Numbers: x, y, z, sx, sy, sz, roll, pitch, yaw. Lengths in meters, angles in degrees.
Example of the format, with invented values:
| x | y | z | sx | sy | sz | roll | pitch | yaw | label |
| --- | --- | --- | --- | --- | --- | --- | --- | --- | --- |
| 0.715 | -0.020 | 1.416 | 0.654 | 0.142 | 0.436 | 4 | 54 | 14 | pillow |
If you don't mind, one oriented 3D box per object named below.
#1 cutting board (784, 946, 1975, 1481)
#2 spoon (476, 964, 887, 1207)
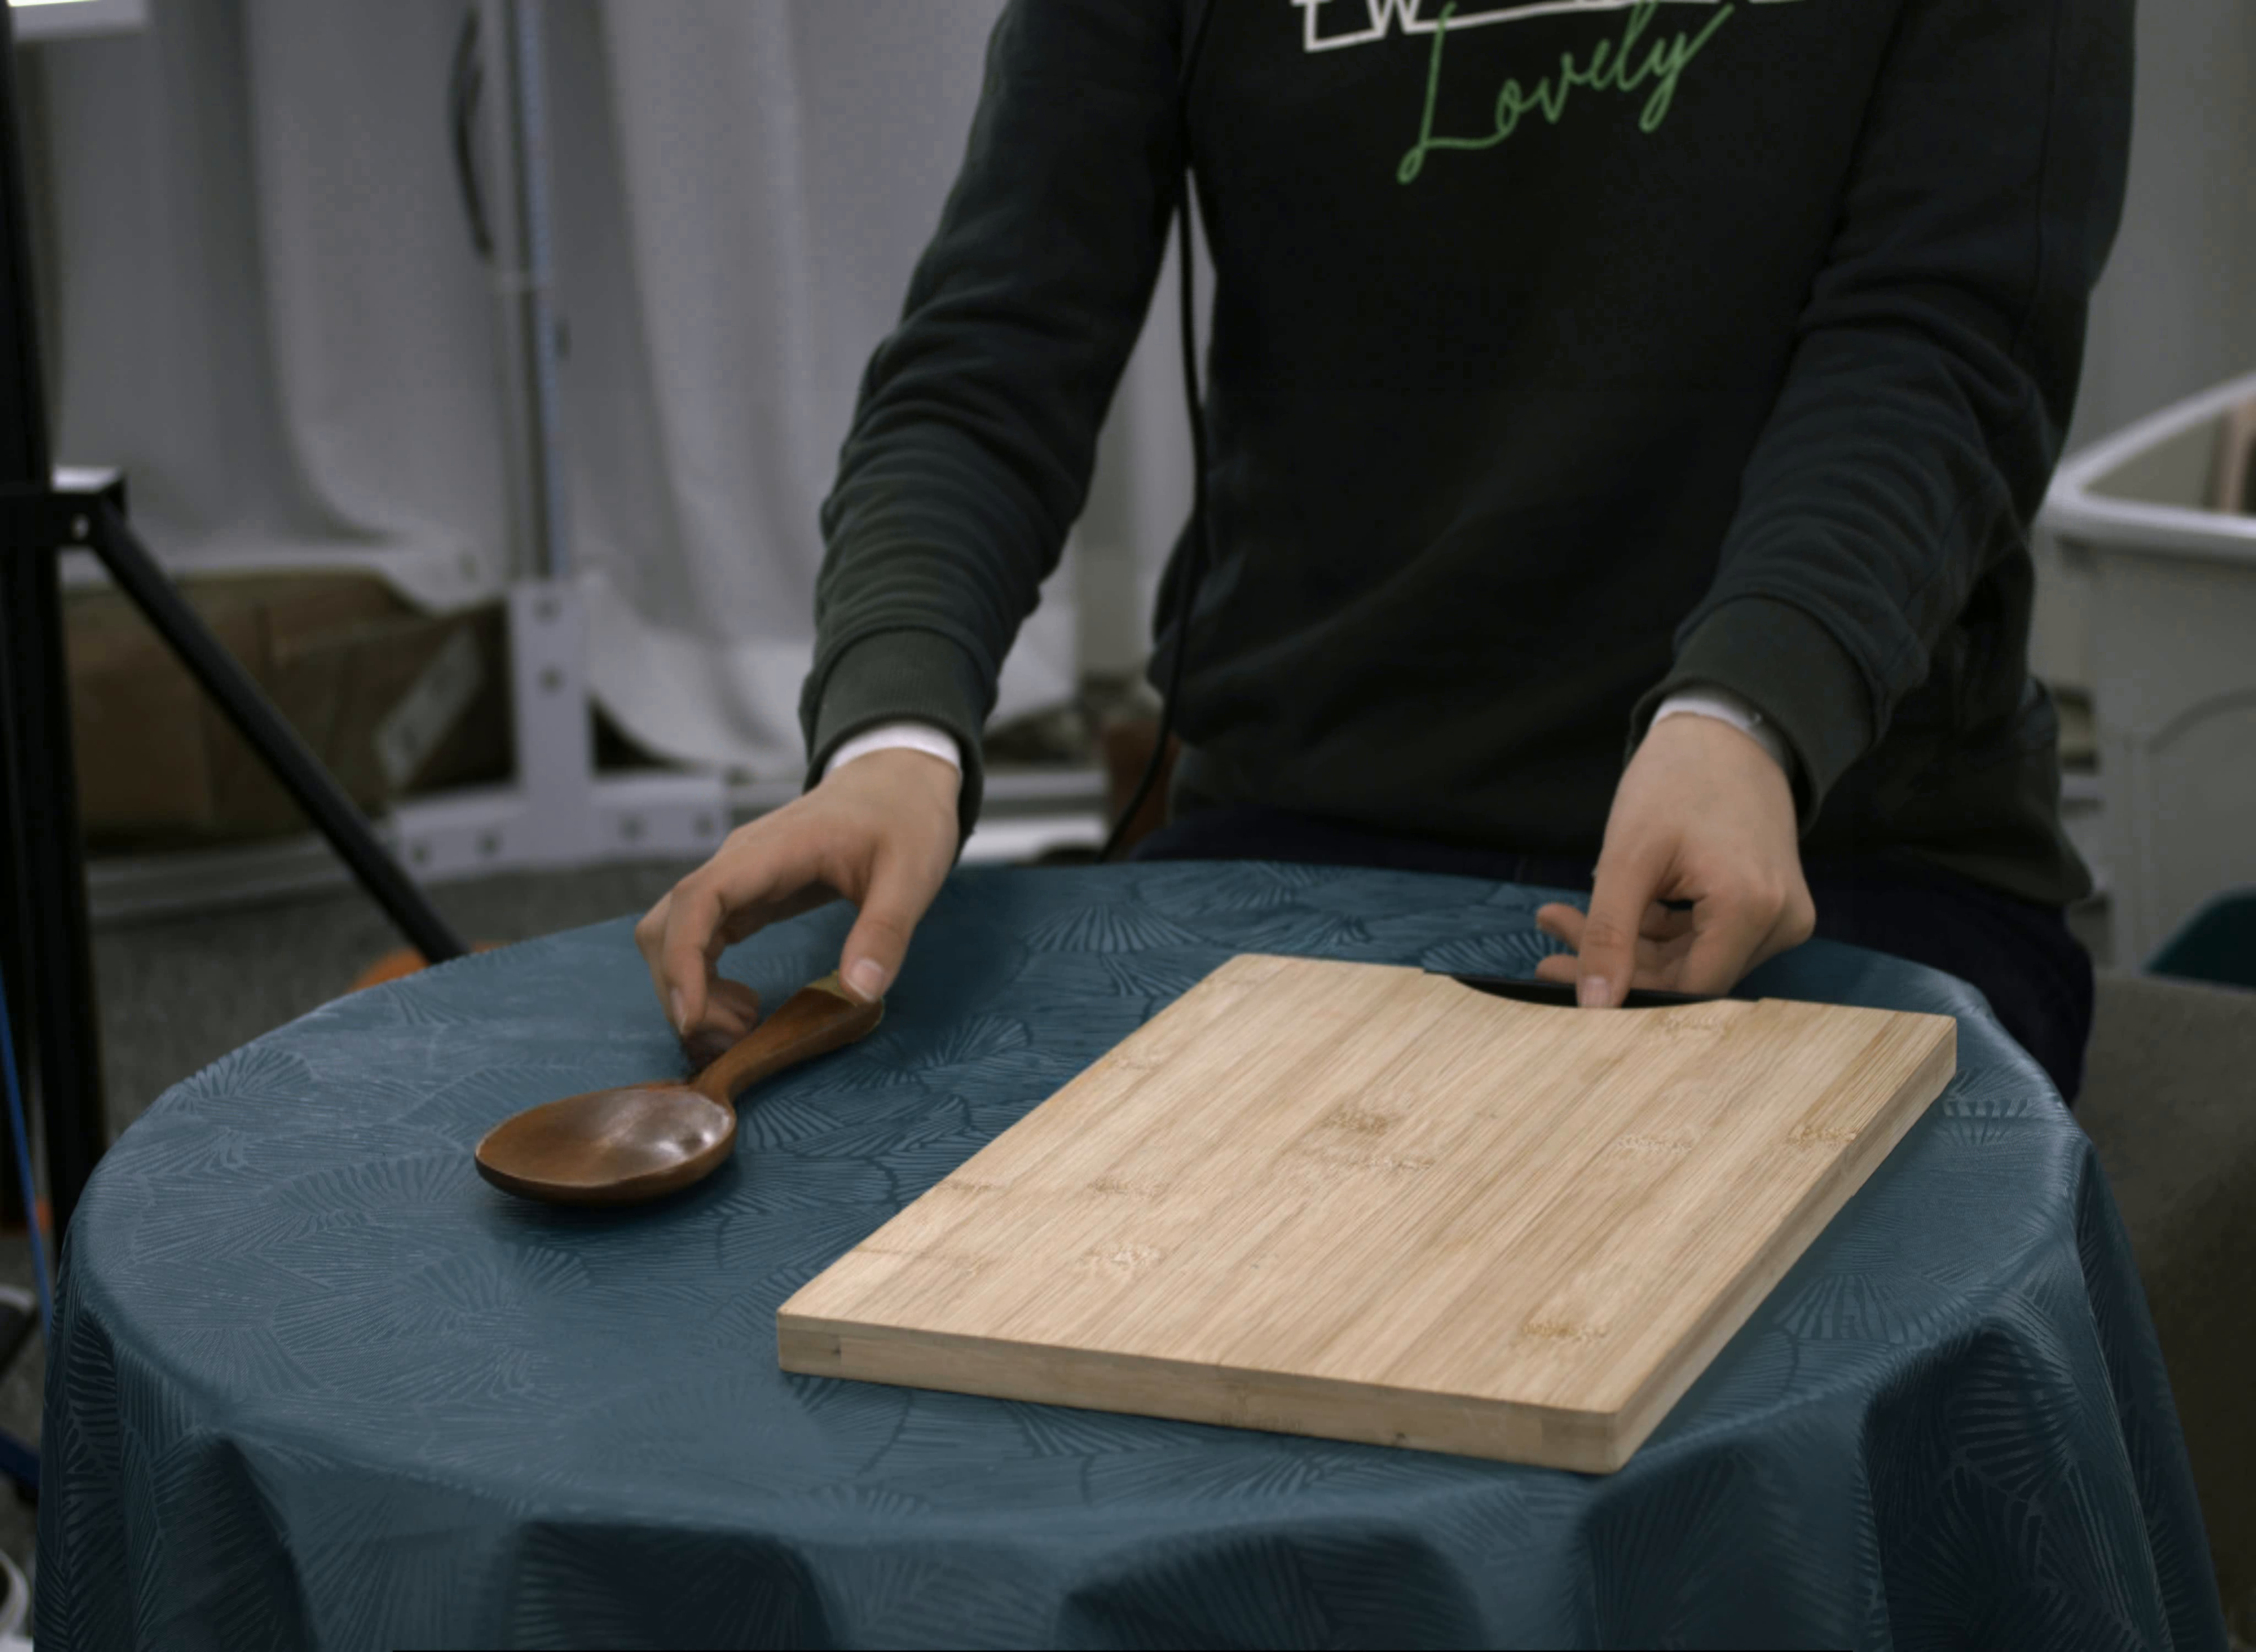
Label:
| x | y | z | sx | sy | sz | roll | pitch | yaw | label |
| --- | --- | --- | --- | --- | --- | --- | --- | --- | --- |
| 0.083 | 0.103 | 1.534 | 0.254 | 0.023 | 0.344 | 5 | 17 | 23 | cutting board |
| -0.128 | 0.081 | 1.642 | 0.076 | 0.017 | 0.213 | 4 | 17 | 24 | spoon |
